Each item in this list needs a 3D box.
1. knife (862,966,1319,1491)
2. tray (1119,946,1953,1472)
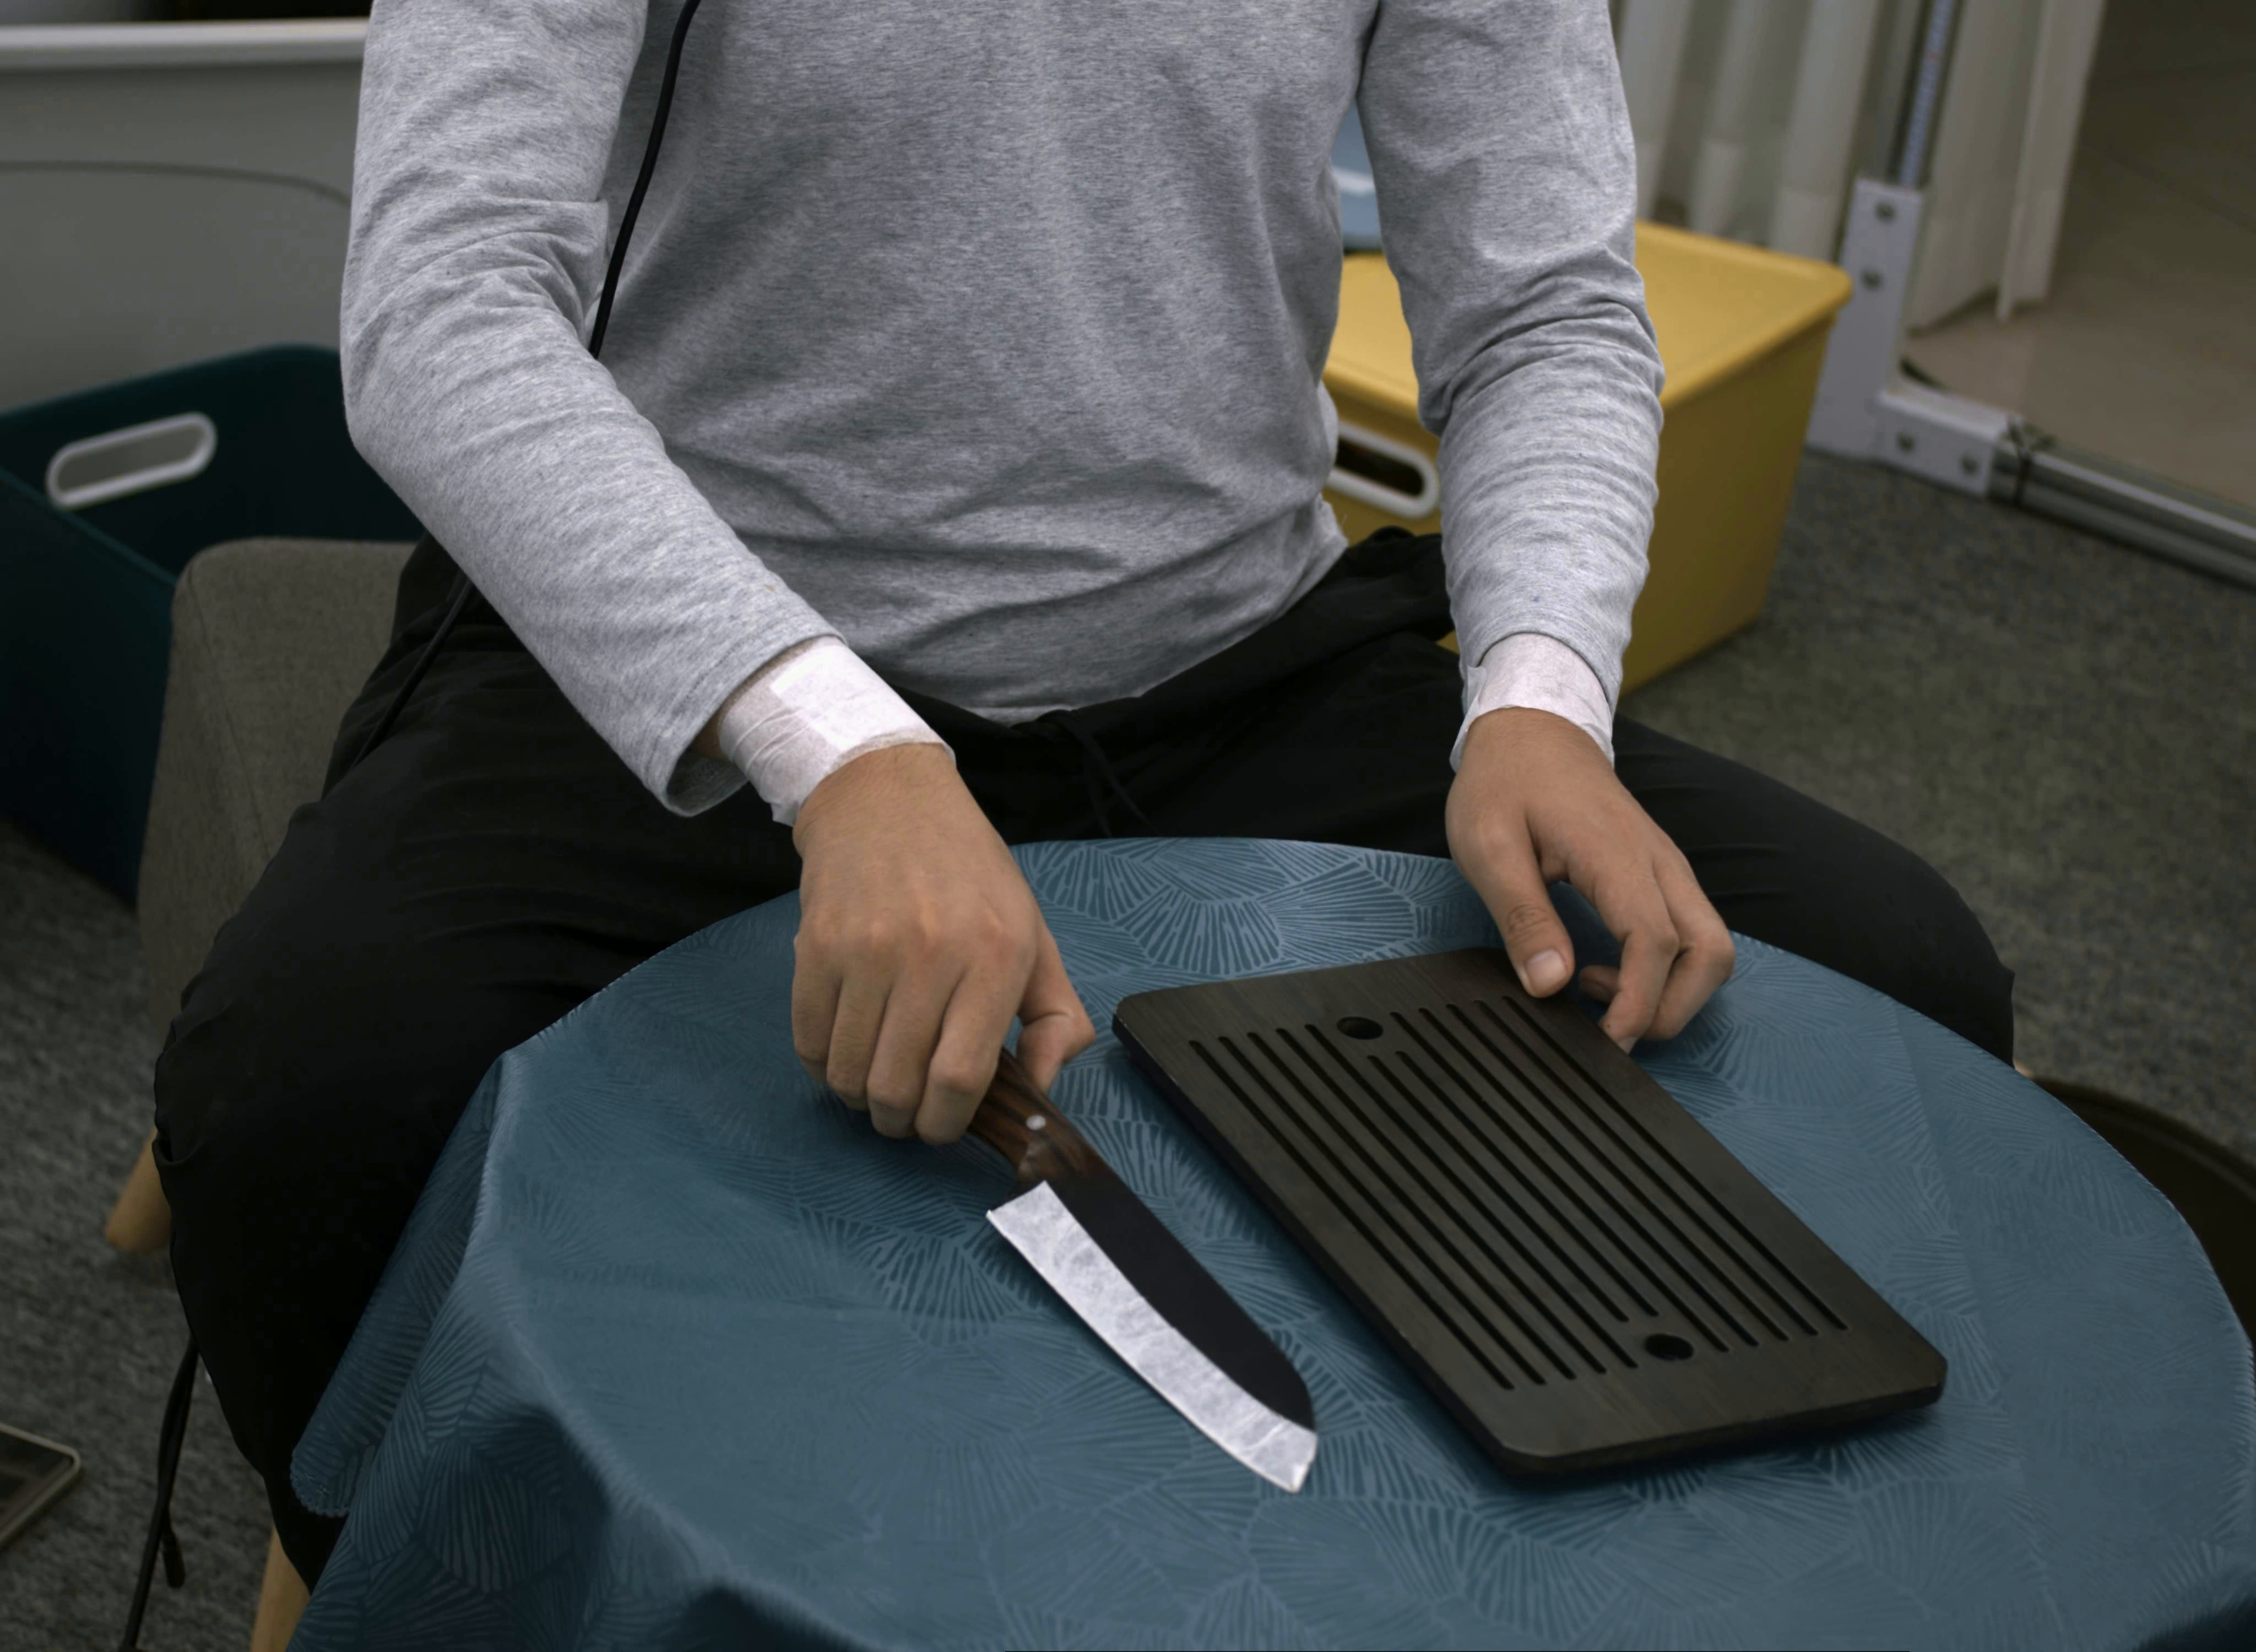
[{"bbox_3d":[-0.015,0.131,1.755,0.050,0.020,0.292,-25,42,-17],"label":"knife"},{"bbox_3d":[0.132,0.127,1.811,0.169,0.018,0.309,-7,29,-24],"label":"tray"}]
